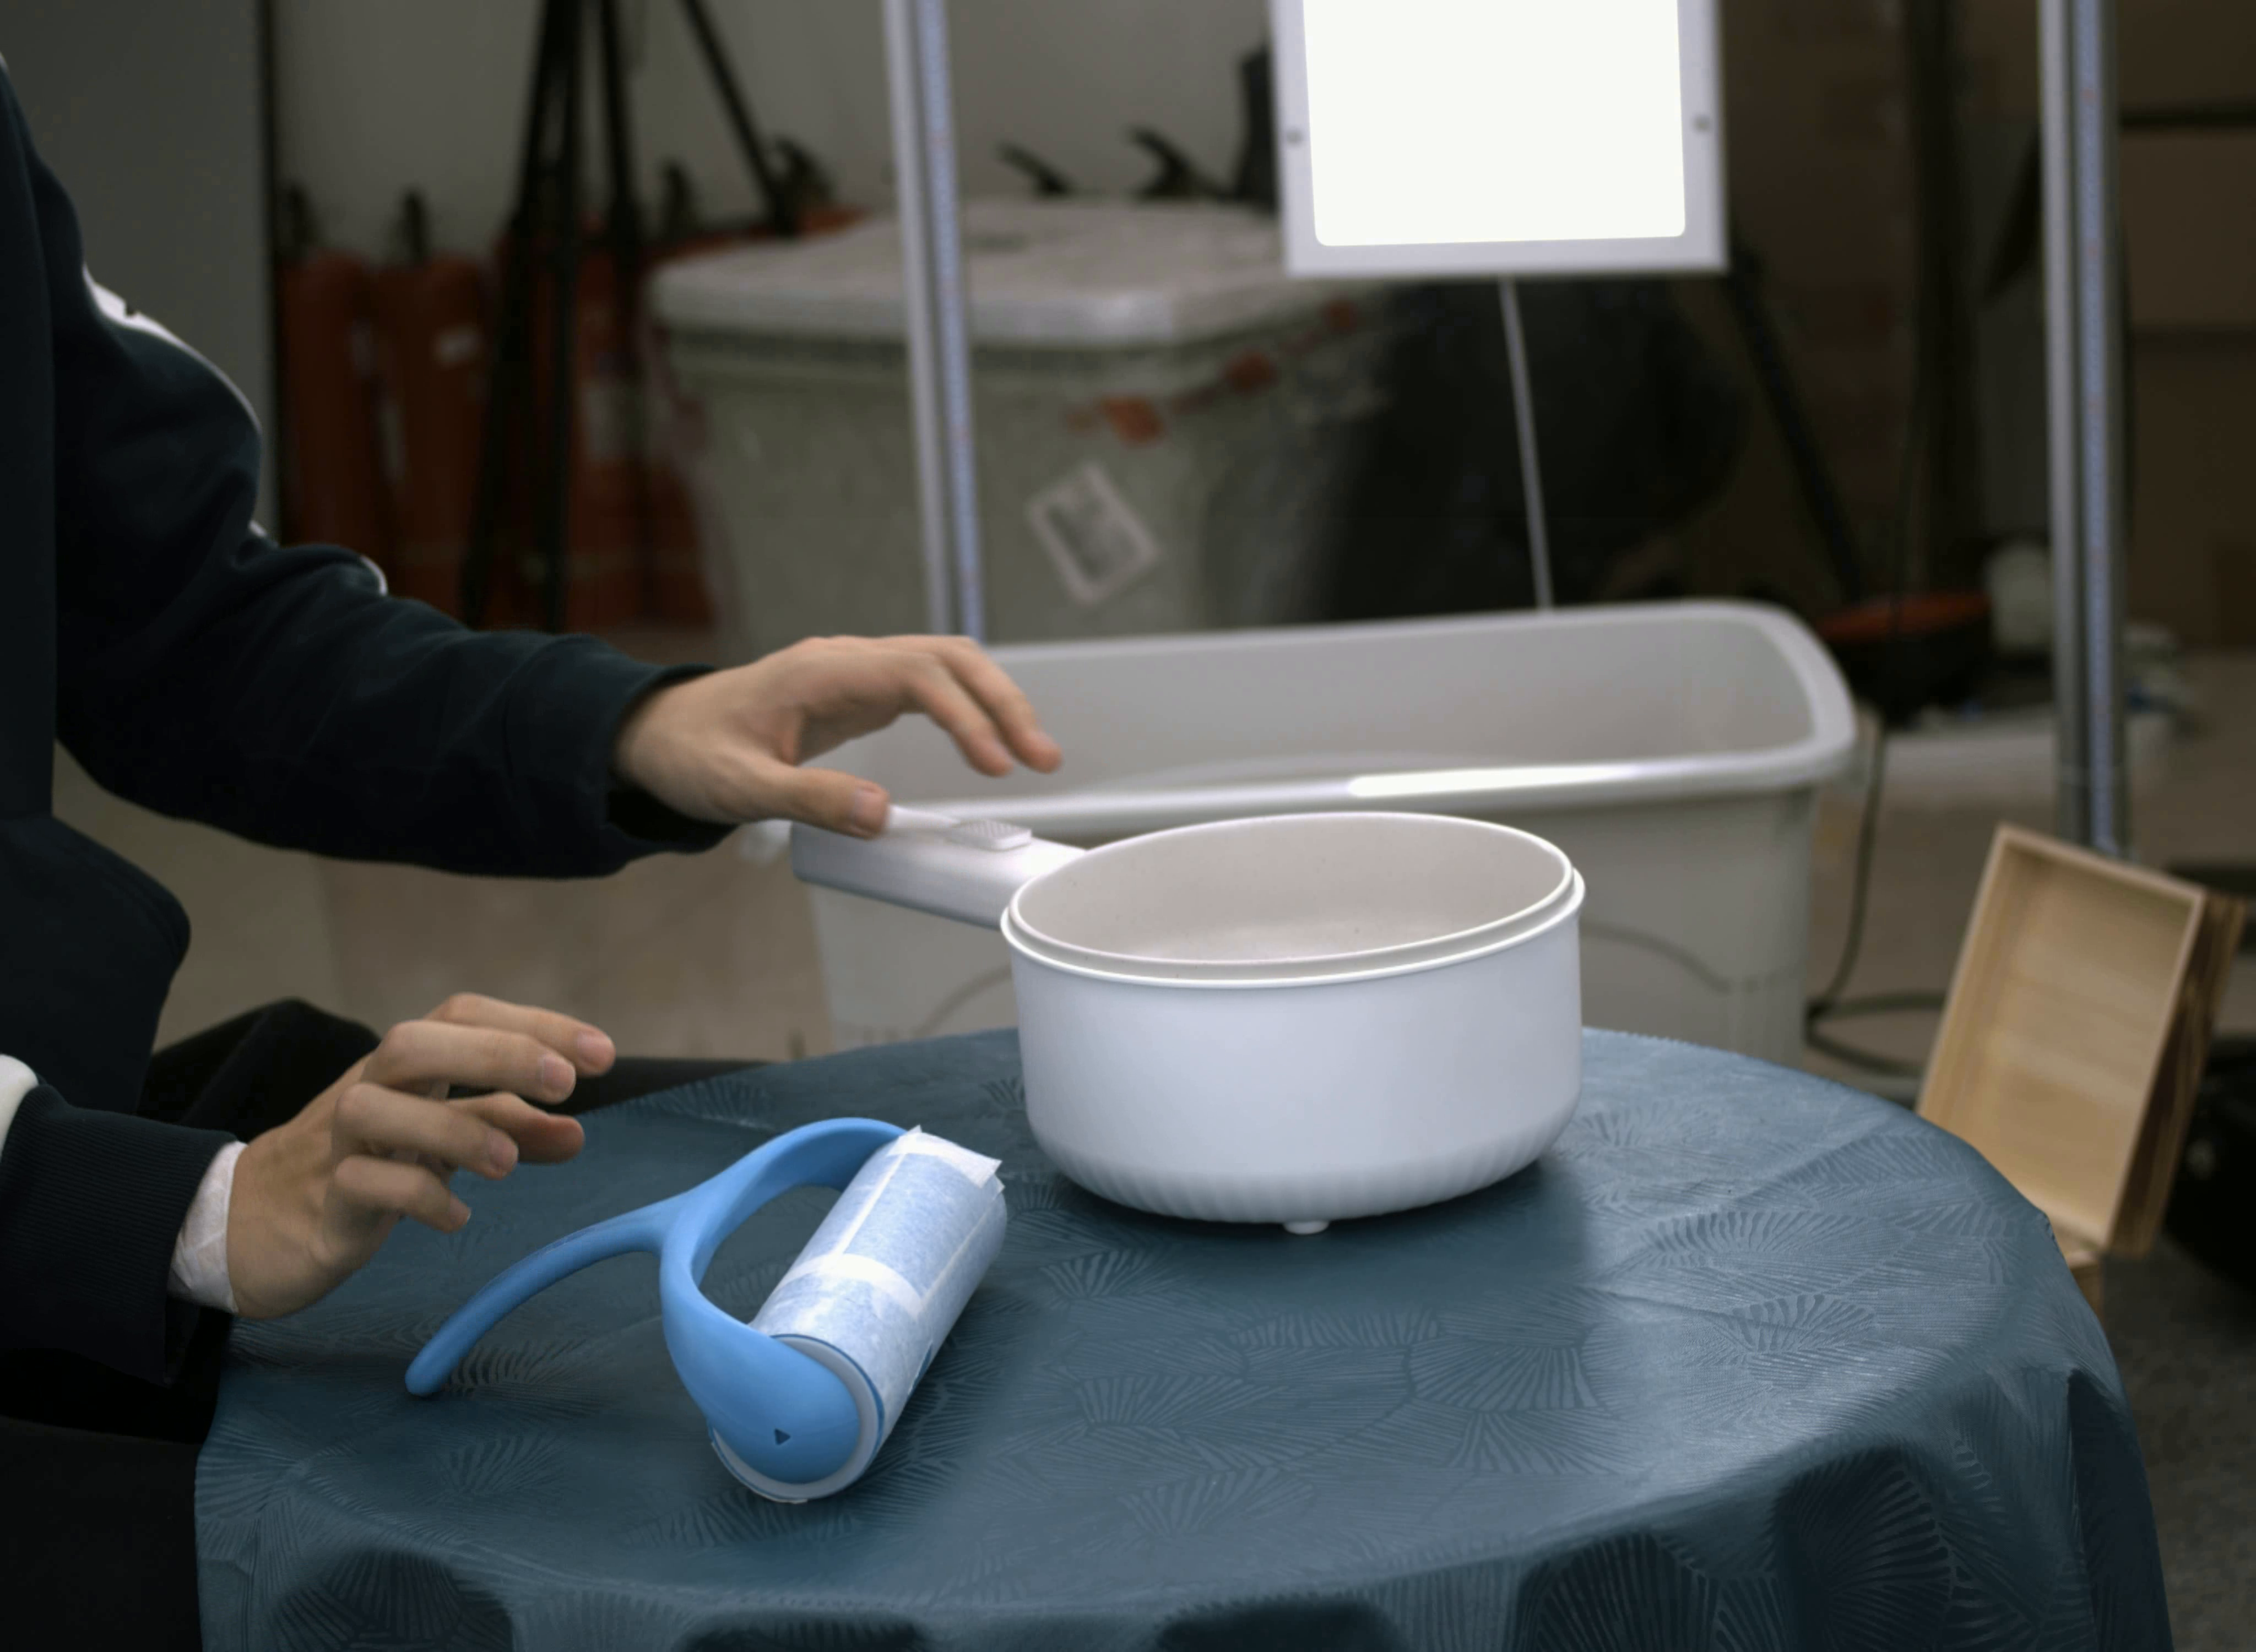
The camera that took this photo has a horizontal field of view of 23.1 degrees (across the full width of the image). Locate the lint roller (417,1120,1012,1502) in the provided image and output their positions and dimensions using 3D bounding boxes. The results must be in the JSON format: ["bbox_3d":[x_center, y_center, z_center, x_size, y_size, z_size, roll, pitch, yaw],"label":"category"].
[{"bbox_3d":[-0.138,0.151,1.725,0.181,0.068,0.227,-2,16,9],"label":"lint roller"}]

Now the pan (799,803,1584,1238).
[{"bbox_3d":[0.009,0.061,1.955,0.196,0.102,0.362,-17,18,-38],"label":"pan"}]
